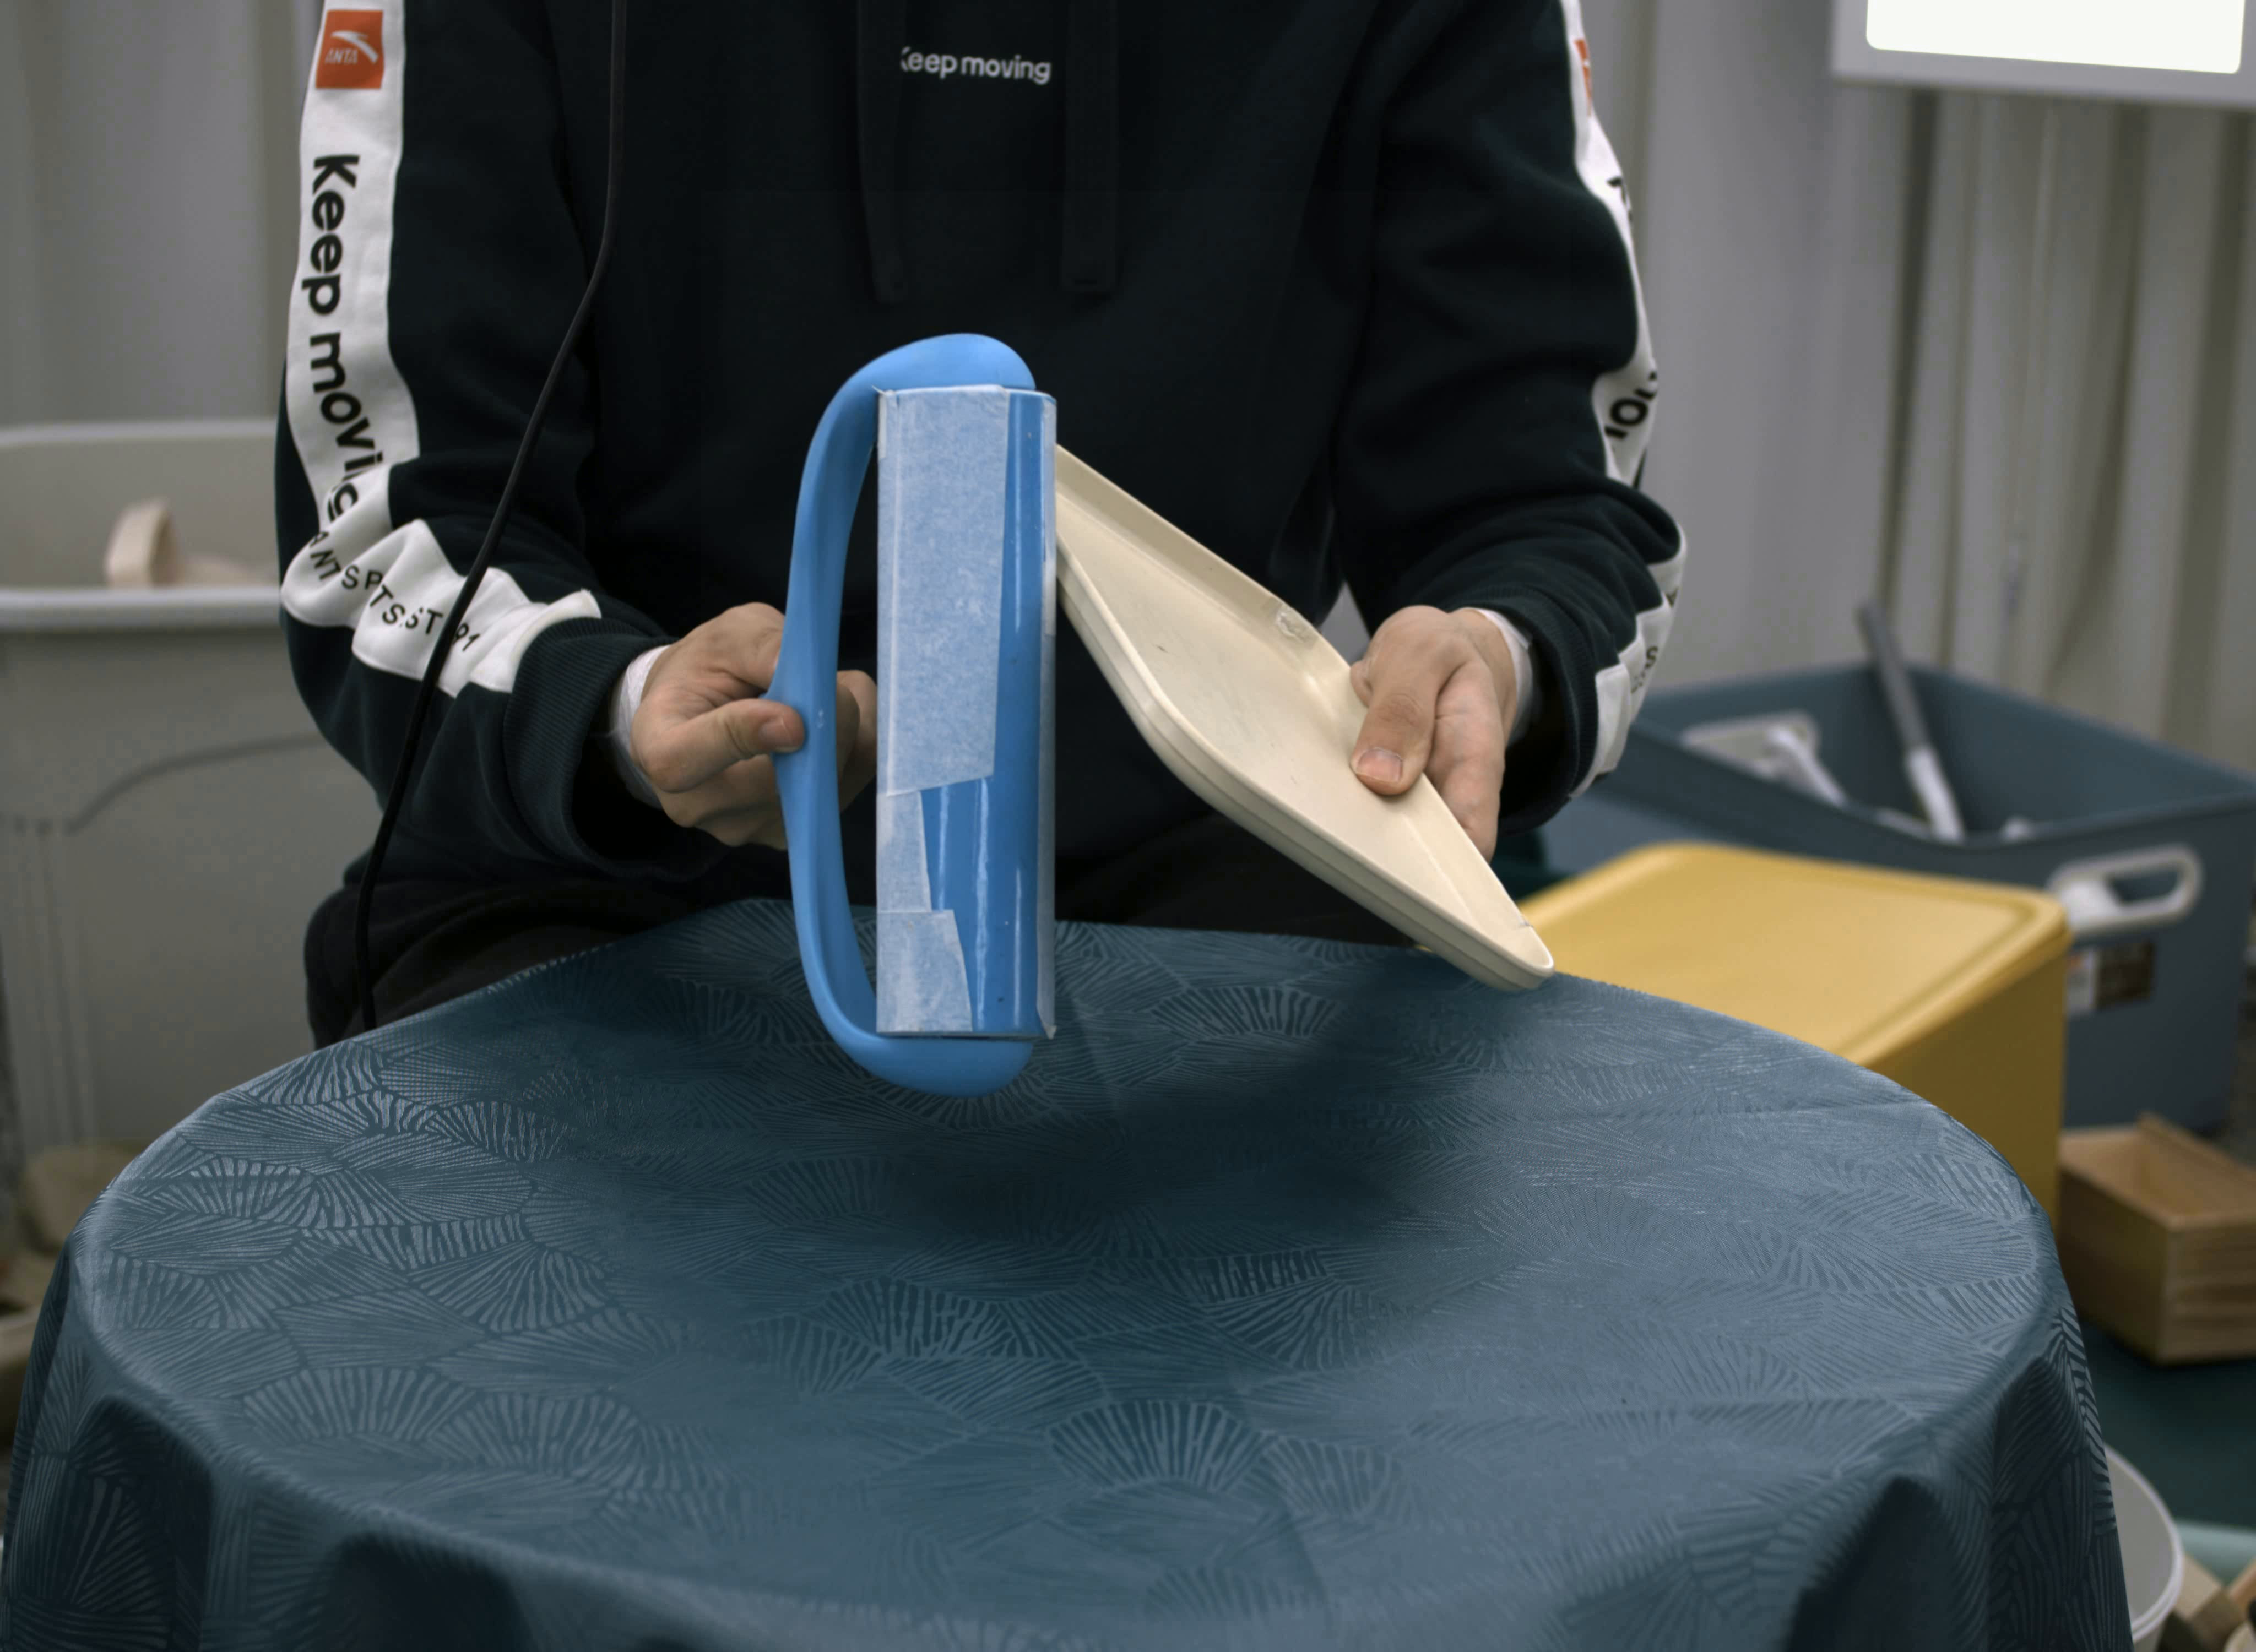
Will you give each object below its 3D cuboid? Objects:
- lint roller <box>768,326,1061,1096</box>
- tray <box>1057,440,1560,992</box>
[{"bbox_3d":[-0.078,-0.029,1.616,0.068,0.229,0.179,0,-4,-31],"label":"lint roller"},{"bbox_3d":[0.038,-0.040,1.622,0.173,0.017,0.236,33,15,-33],"label":"tray"}]
